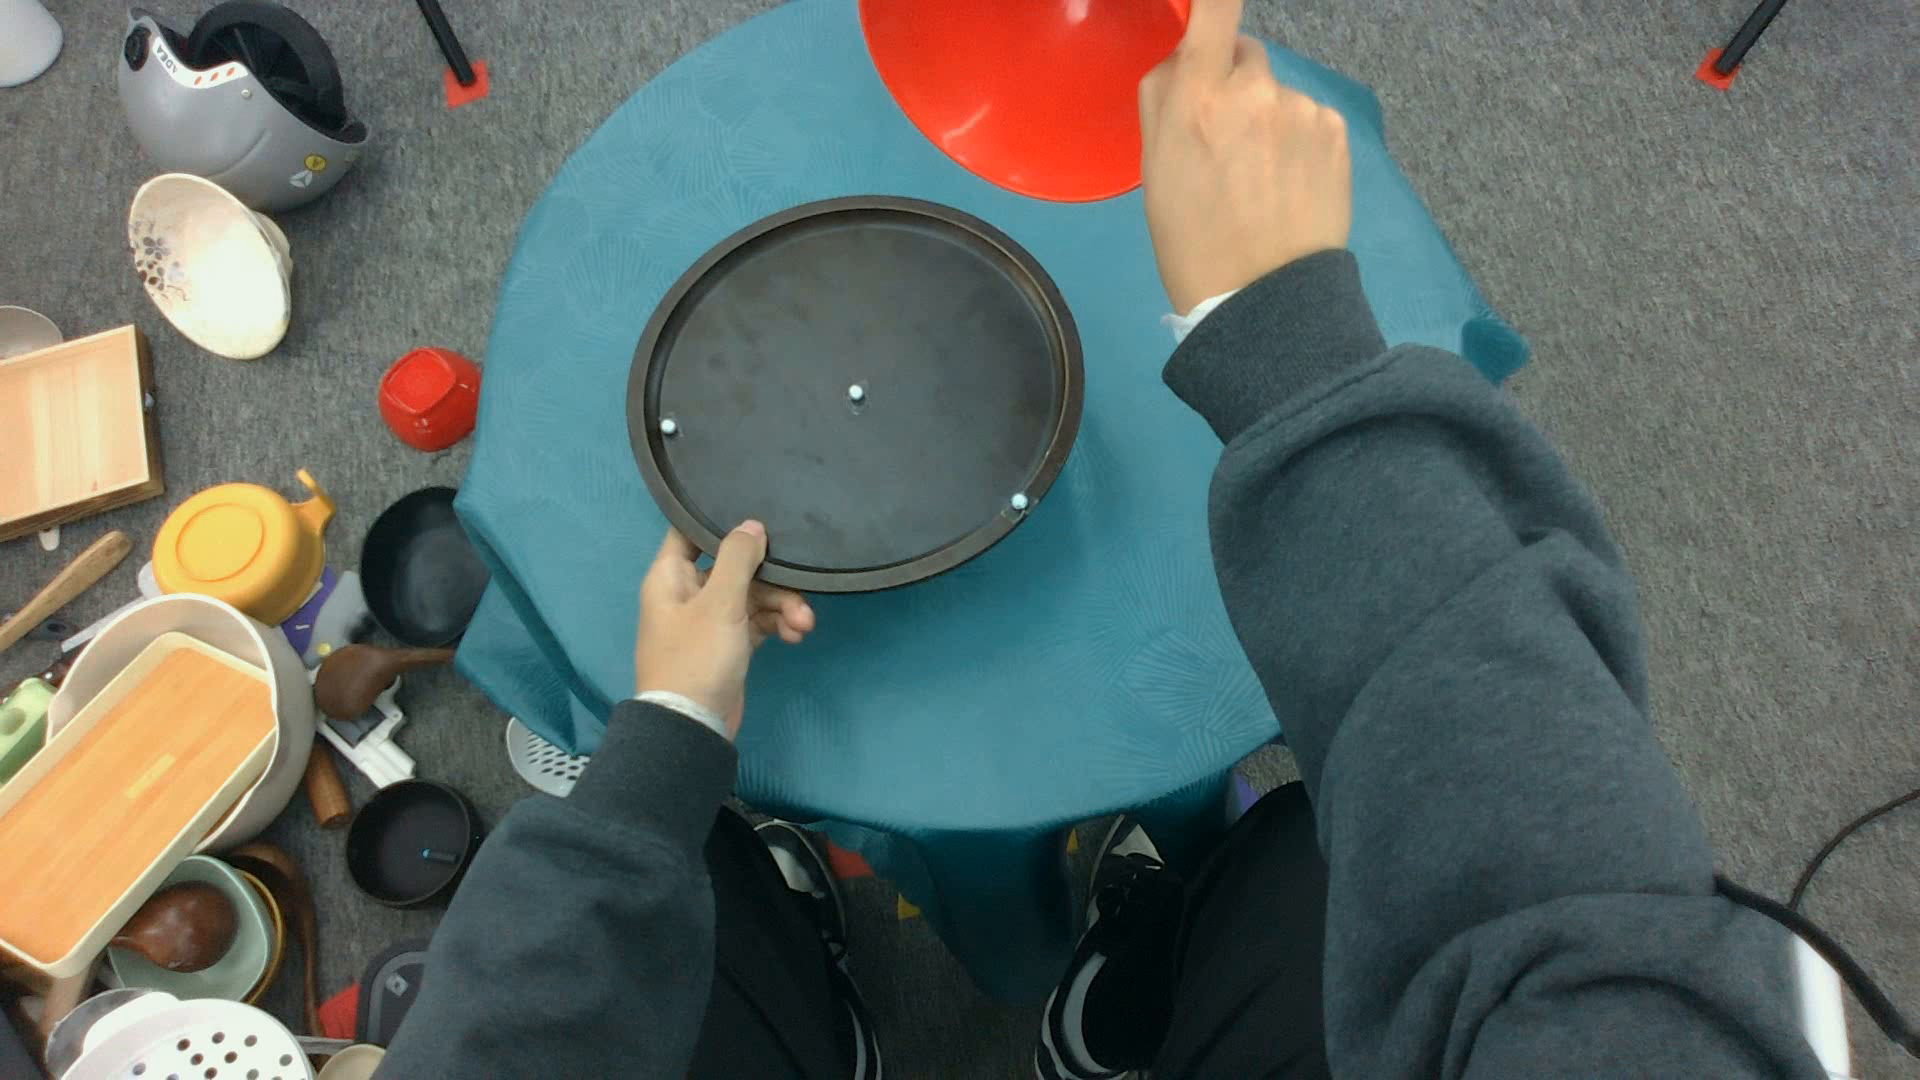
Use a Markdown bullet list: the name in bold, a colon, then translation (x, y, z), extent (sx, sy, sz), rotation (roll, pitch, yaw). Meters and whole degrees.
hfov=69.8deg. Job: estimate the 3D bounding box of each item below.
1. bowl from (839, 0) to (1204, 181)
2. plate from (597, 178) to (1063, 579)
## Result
- **bowl**: translation (0.038, -0.234, 0.571), extent (0.148, 0.147, 0.105), rotation (32, 65, 14)
- **plate**: translation (-0.071, -0.094, 0.756), extent (0.255, 0.029, 0.255), rotation (-1, 66, 1)
